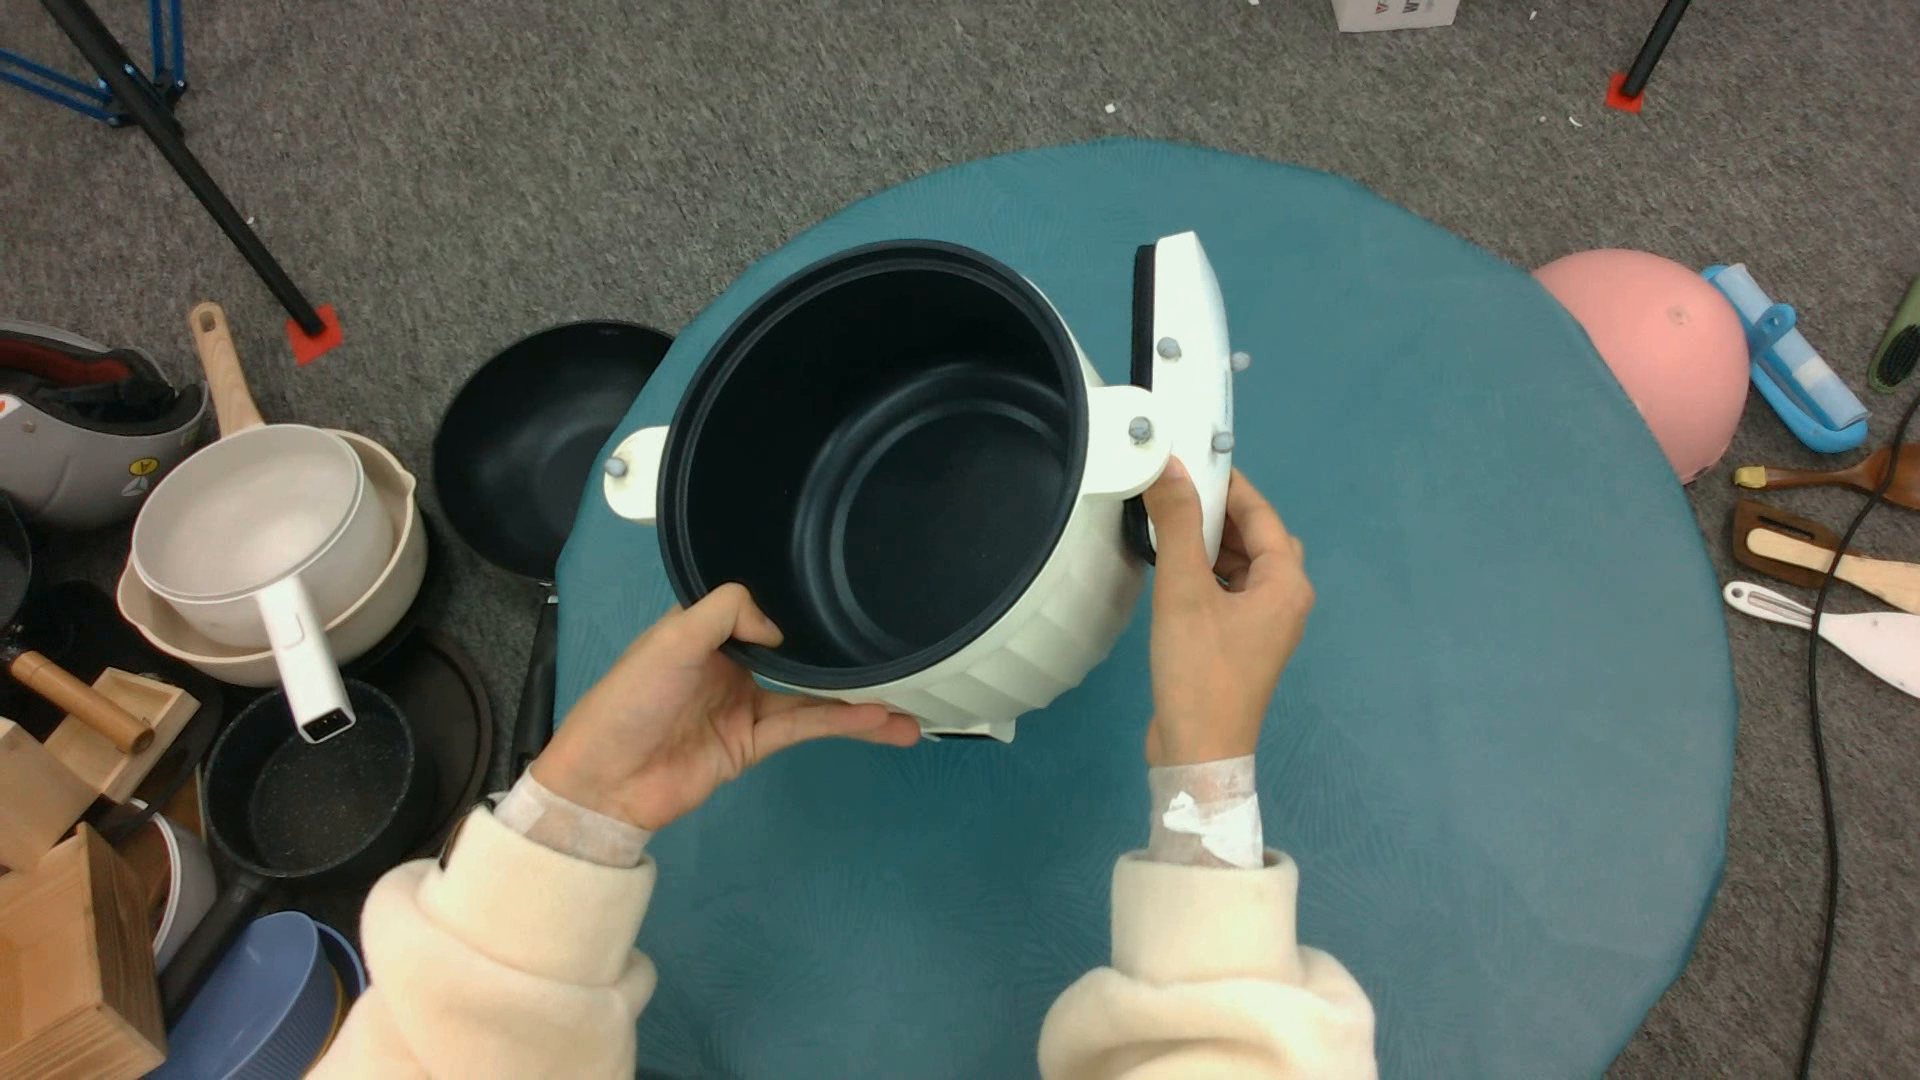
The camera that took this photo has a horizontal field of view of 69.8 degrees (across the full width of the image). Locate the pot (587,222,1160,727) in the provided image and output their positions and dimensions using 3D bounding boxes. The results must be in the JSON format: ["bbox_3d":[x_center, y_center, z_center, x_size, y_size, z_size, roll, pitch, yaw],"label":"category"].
[{"bbox_3d":[-0.019,-0.024,0.574,0.240,0.142,0.191,-3,75,22],"label":"pot"}]

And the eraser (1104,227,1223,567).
[{"bbox_3d":[0.083,-0.057,0.549,0.034,0.063,0.131,-2,75,24],"label":"eraser"}]
